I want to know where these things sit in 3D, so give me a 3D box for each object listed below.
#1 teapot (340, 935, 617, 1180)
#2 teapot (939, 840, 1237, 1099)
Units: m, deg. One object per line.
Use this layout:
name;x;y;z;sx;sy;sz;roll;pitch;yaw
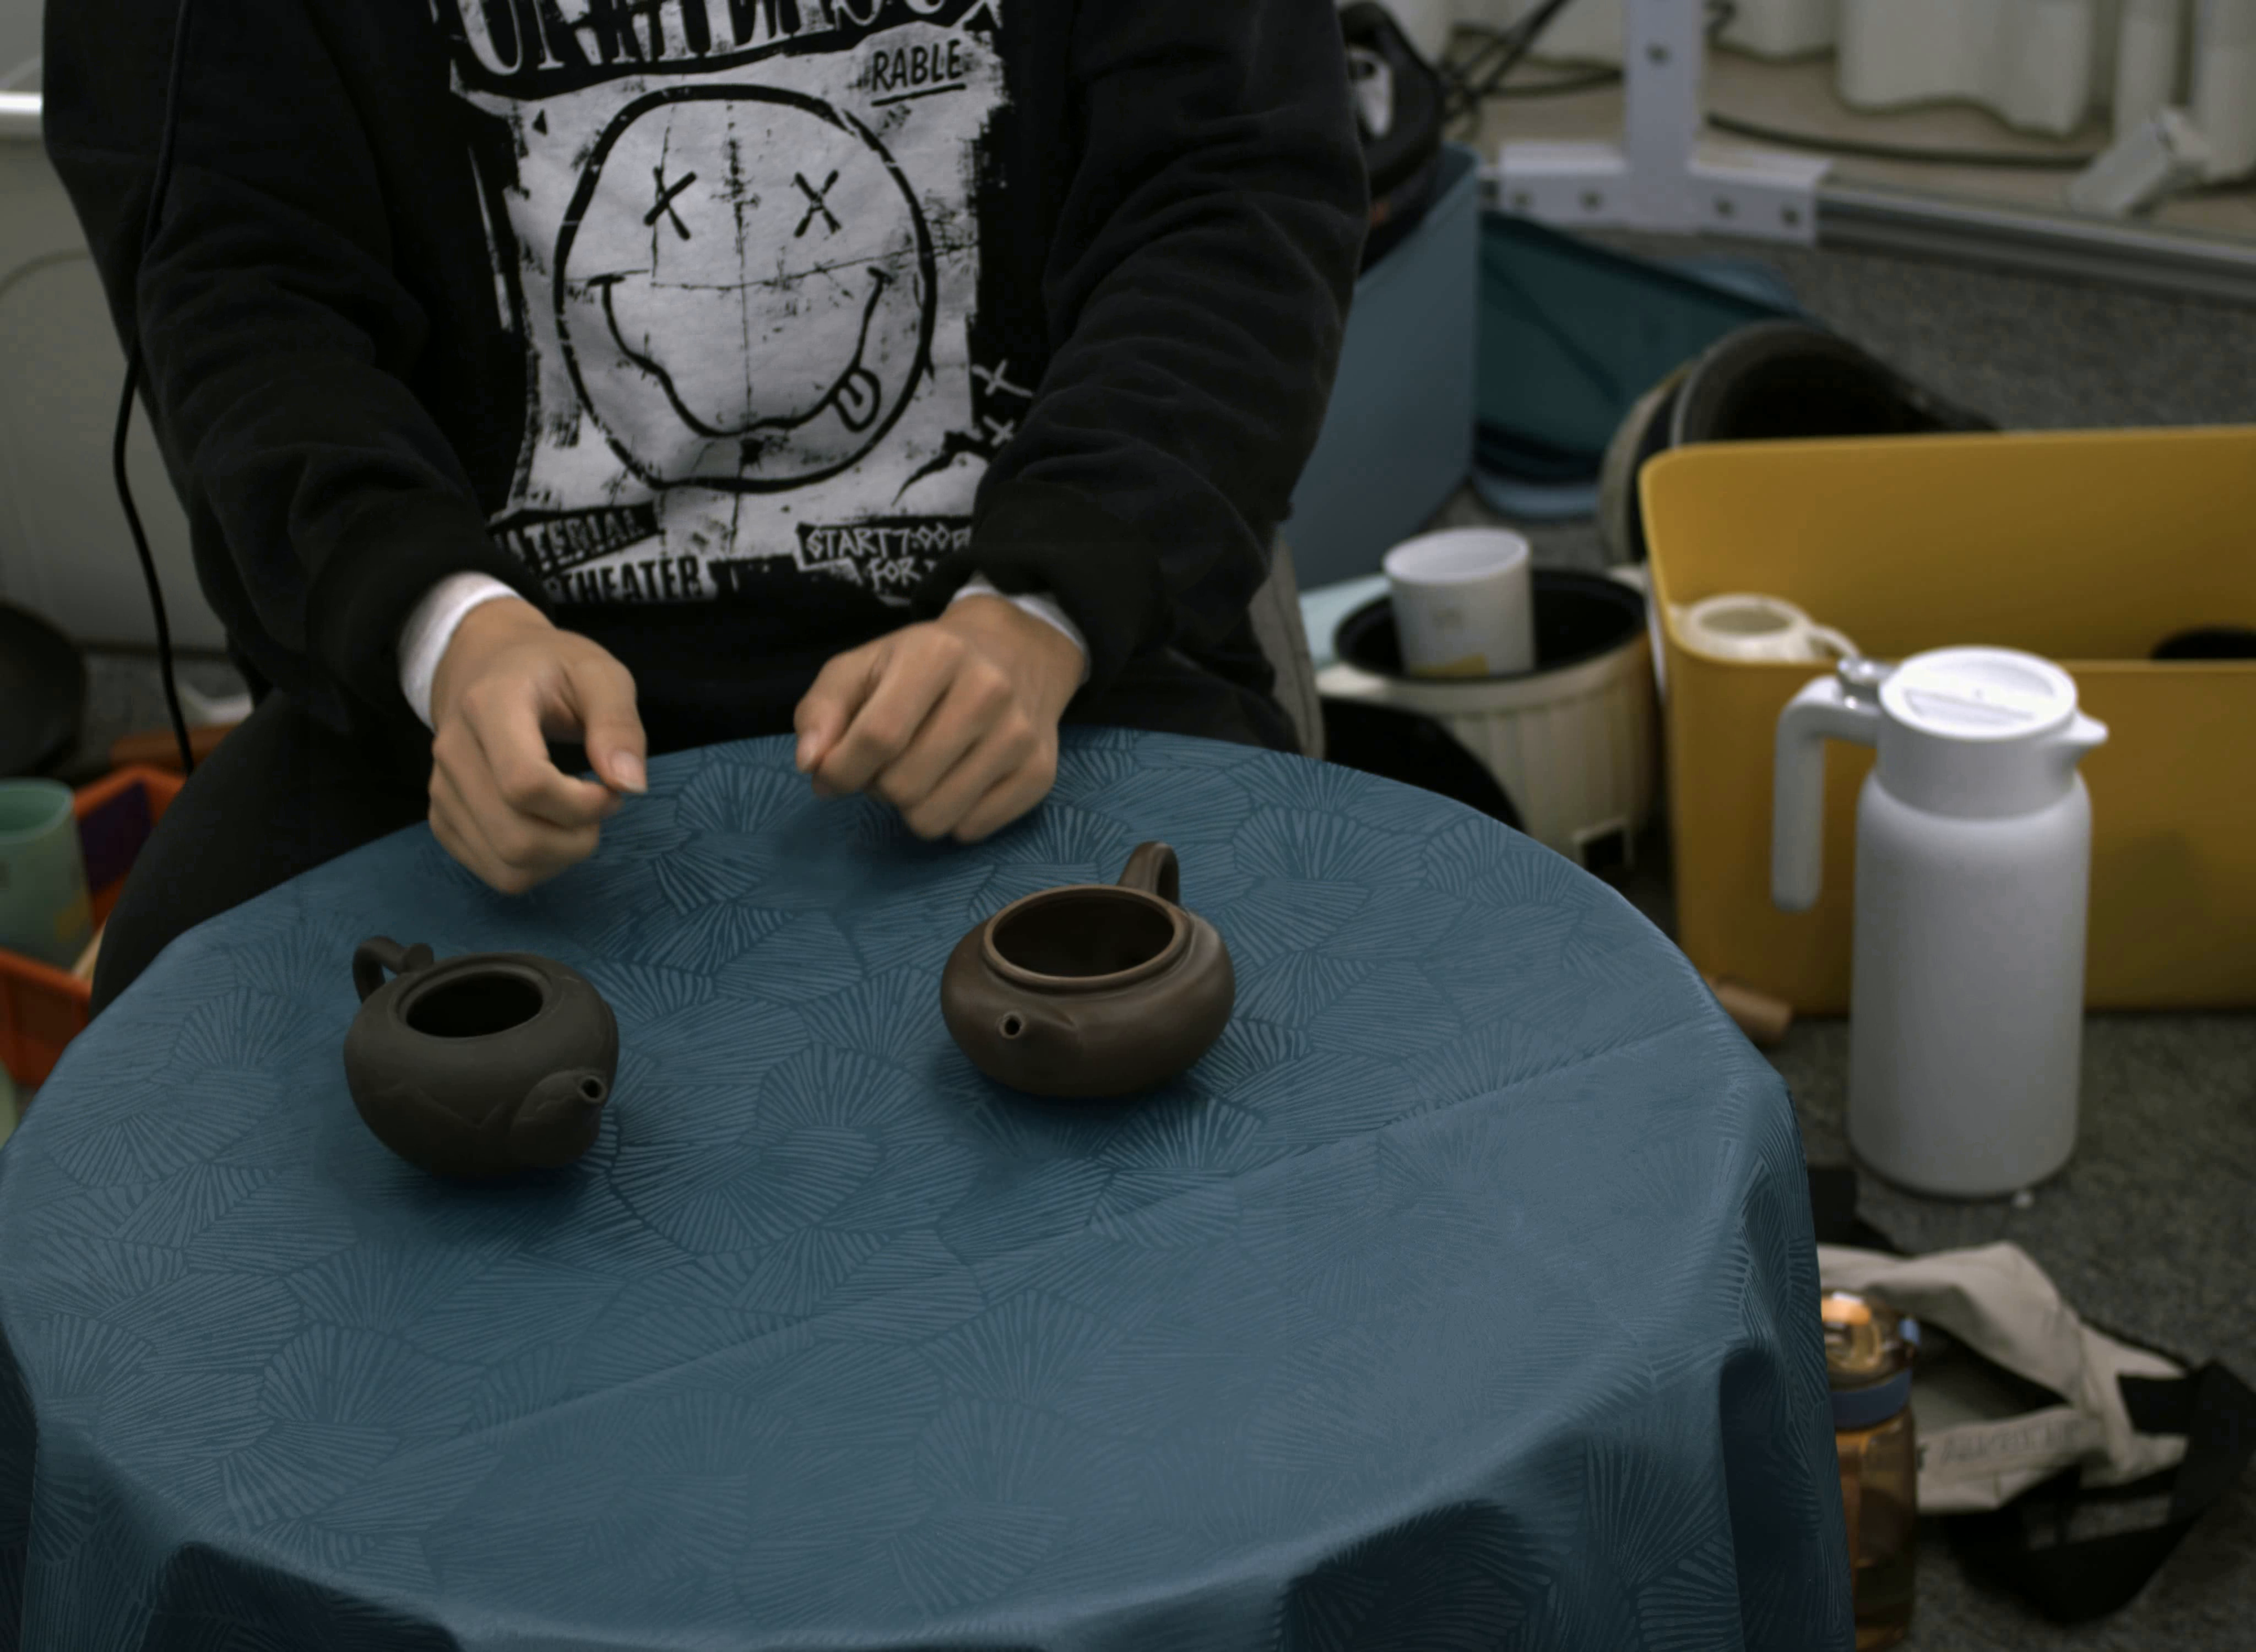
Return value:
teapot;-0.220;0.080;1.893;0.093;0.064;0.154;-19;32;-33
teapot;-0.013;0.053;1.934;0.102;0.053;0.156;6;29;13
